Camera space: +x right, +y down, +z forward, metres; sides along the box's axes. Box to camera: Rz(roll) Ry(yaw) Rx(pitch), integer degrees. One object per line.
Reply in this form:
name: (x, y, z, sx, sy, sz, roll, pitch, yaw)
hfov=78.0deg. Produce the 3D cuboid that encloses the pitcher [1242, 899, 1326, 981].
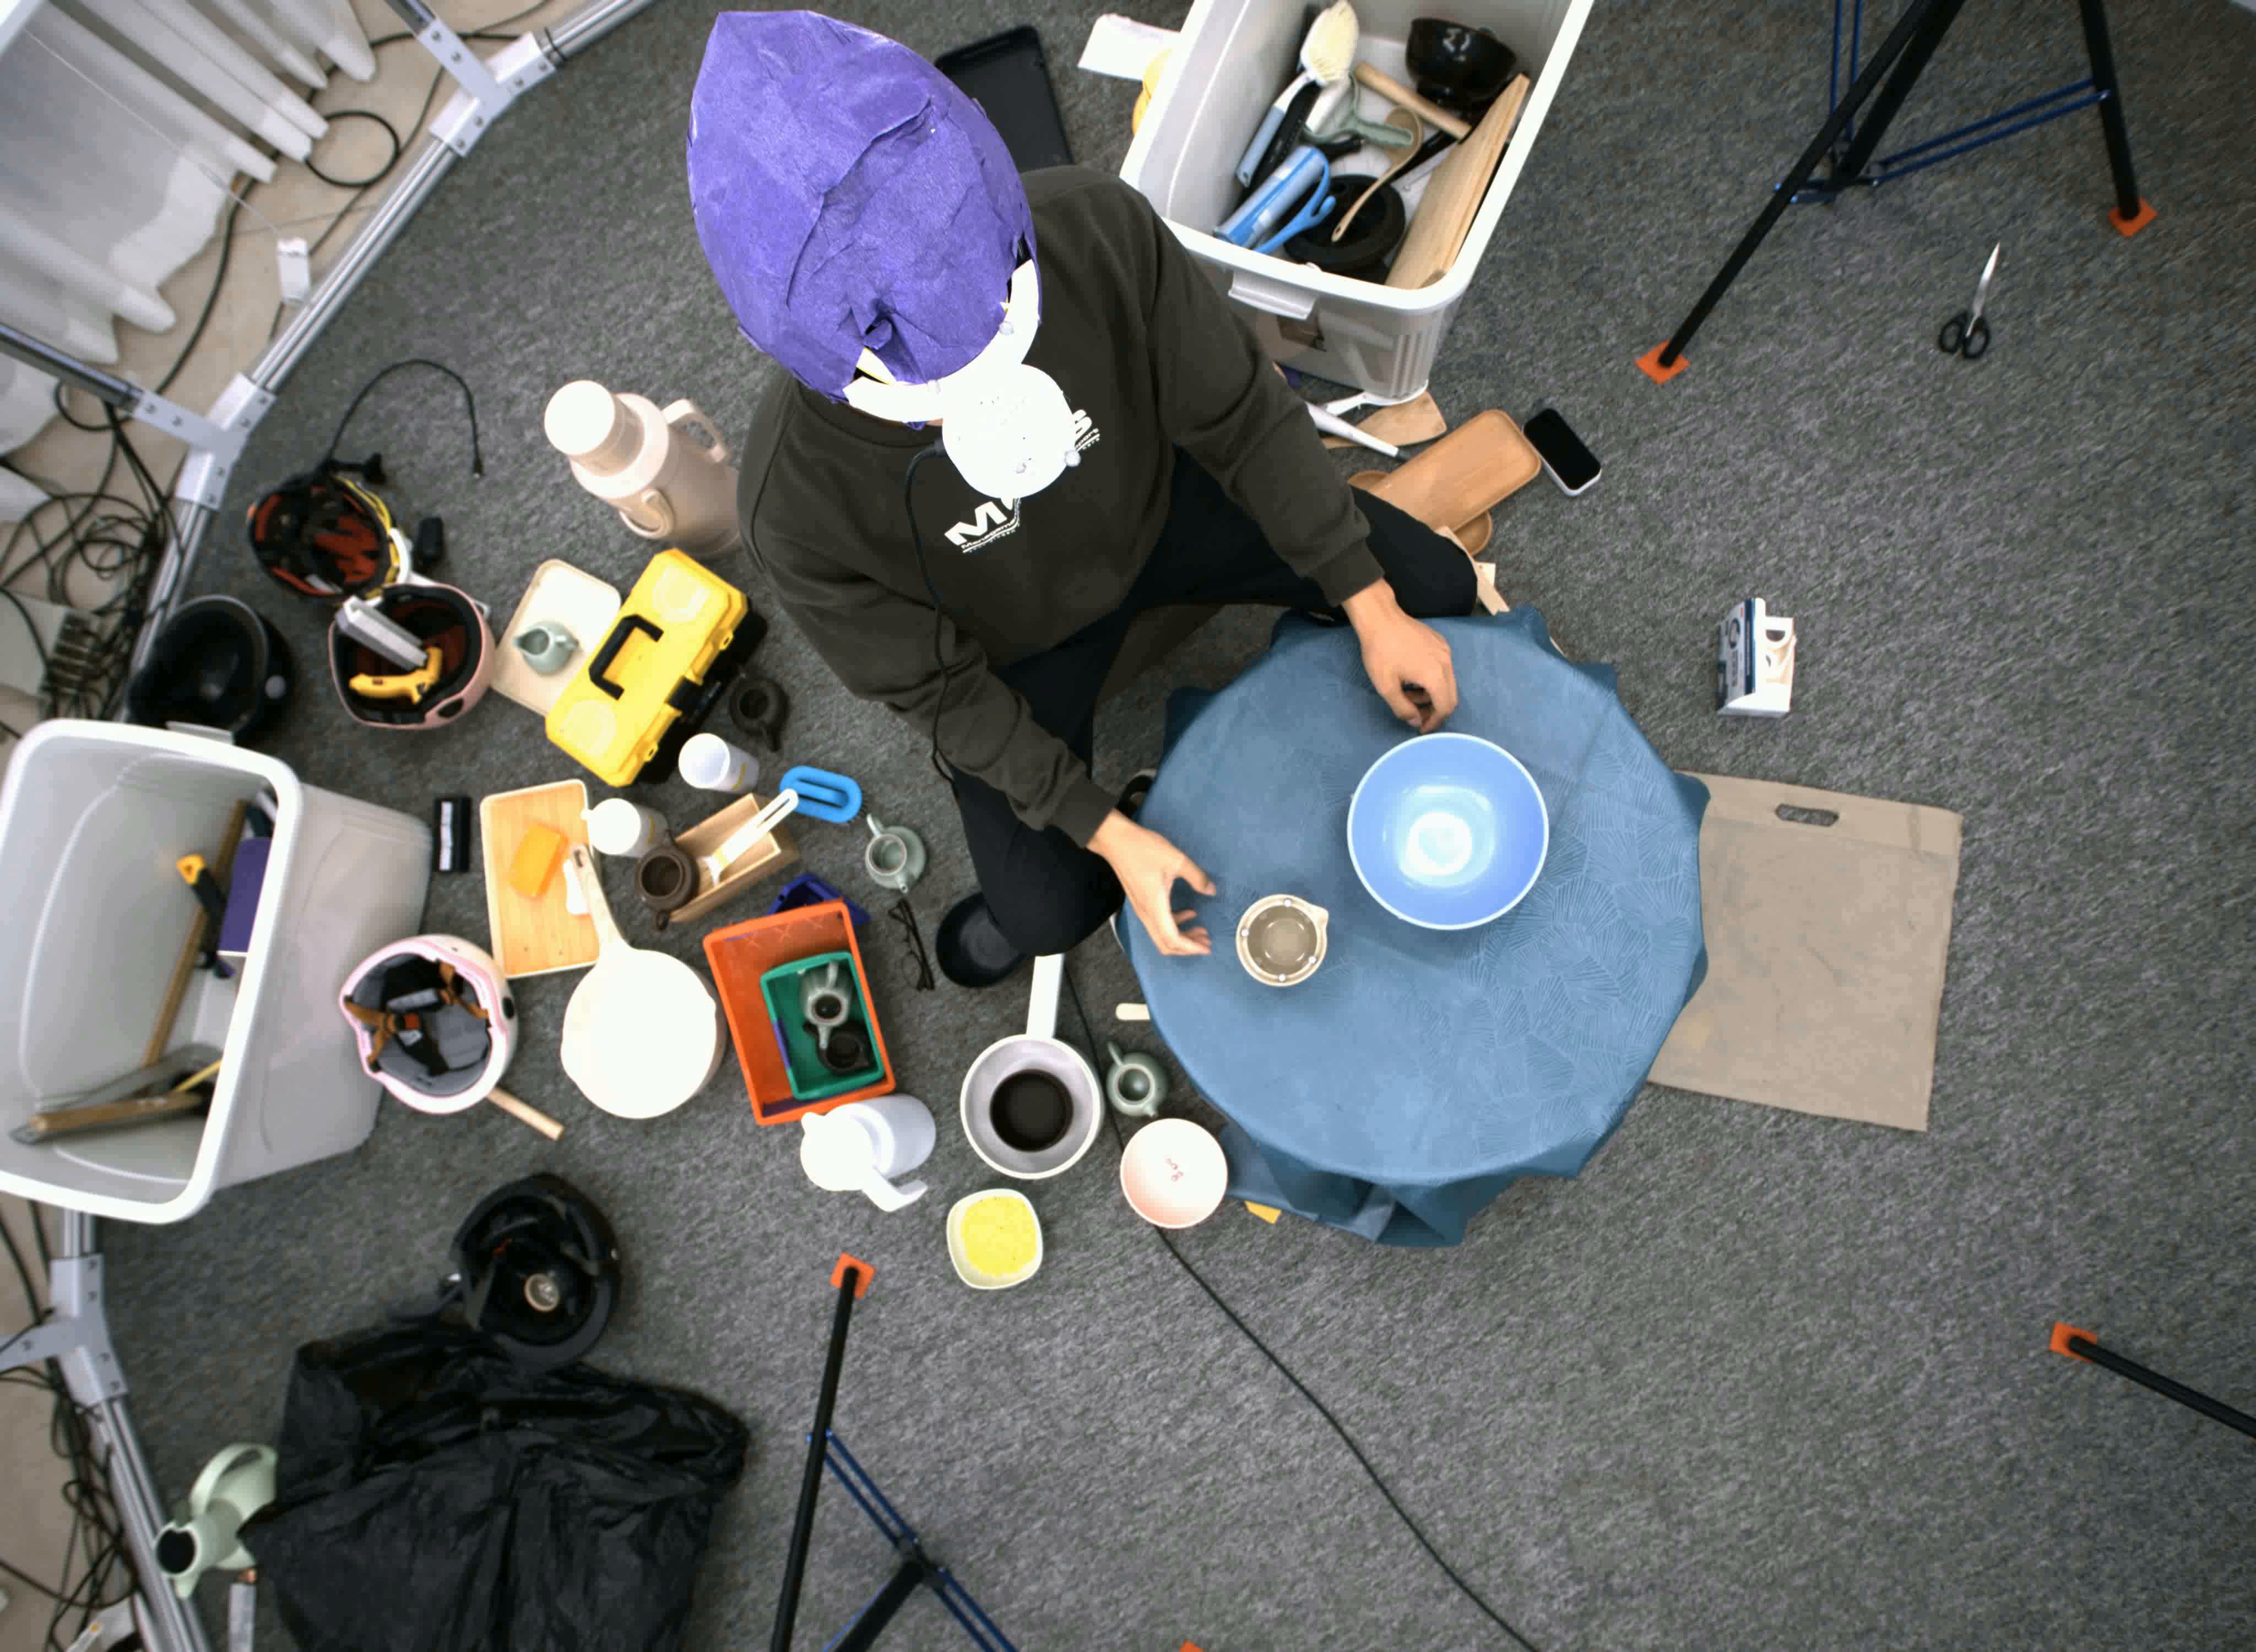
pitcher: (0.166, 0.115, 1.440, 0.096, 0.071, 0.083, -34, 79, 7)

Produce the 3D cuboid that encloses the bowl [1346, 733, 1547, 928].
bowl: (0.323, 0.008, 1.409, 0.197, 0.096, 0.195, -1, 83, 11)
